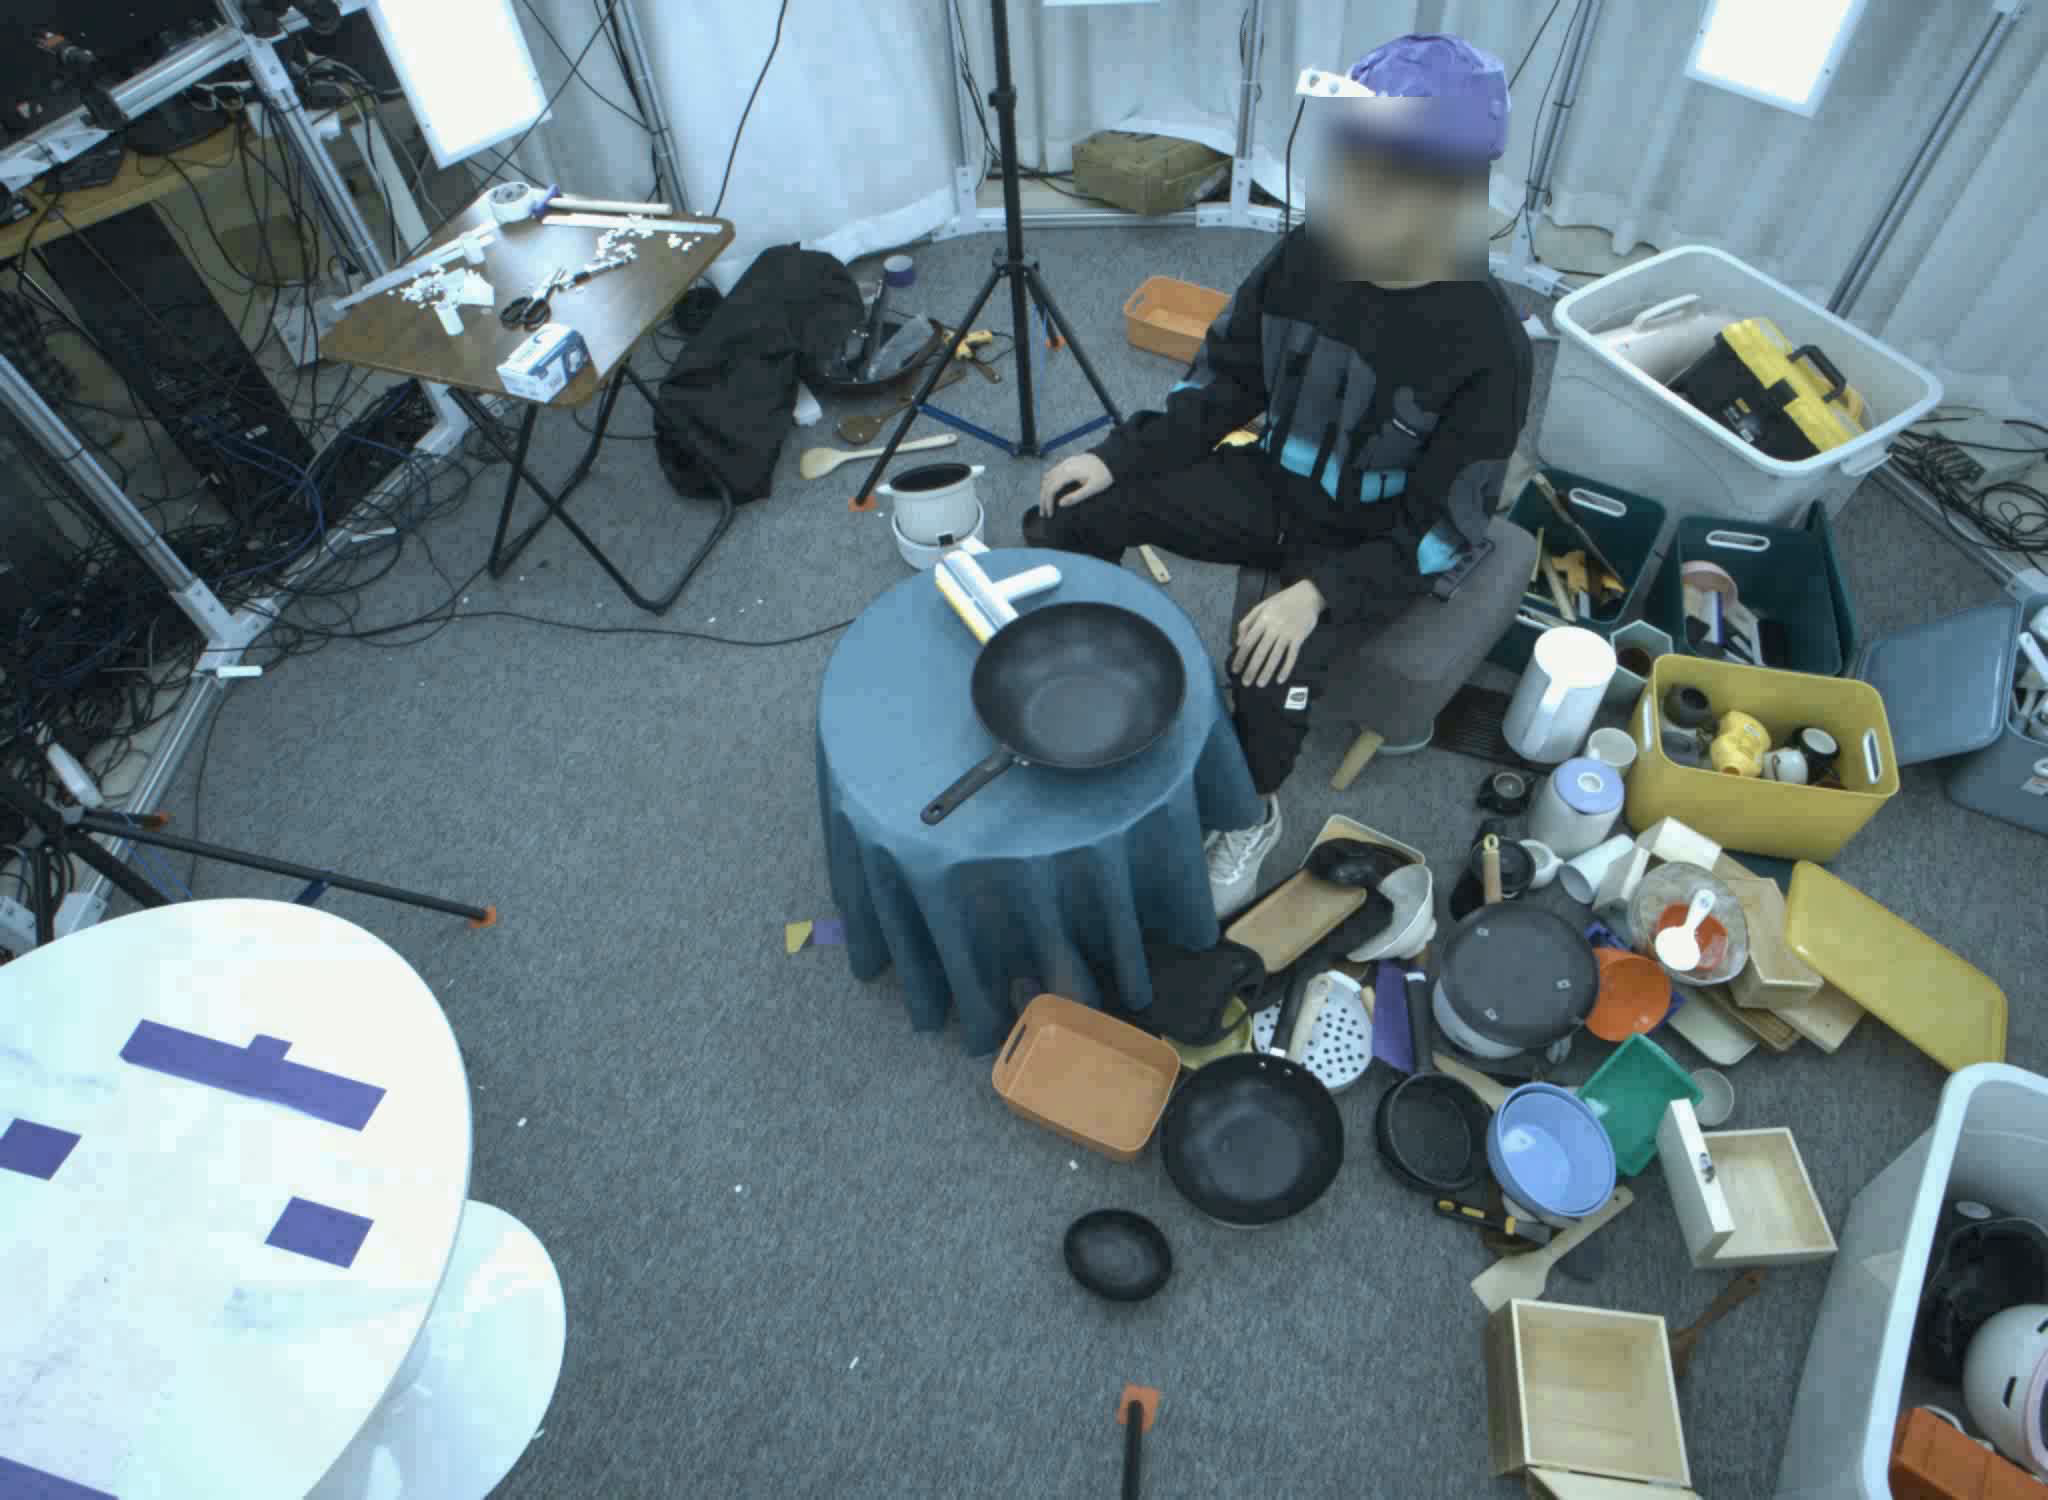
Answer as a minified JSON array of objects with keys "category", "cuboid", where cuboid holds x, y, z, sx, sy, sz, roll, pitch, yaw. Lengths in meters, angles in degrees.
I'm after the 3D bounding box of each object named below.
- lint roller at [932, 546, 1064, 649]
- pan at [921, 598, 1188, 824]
[{"category":"lint roller","cuboid":[-0.024,-0.255,1.923,0.194,0.075,0.189,-27,63,-18]},{"category":"pan","cuboid":[0.028,-0.033,1.739,0.305,0.113,0.479,31,61,24]}]
